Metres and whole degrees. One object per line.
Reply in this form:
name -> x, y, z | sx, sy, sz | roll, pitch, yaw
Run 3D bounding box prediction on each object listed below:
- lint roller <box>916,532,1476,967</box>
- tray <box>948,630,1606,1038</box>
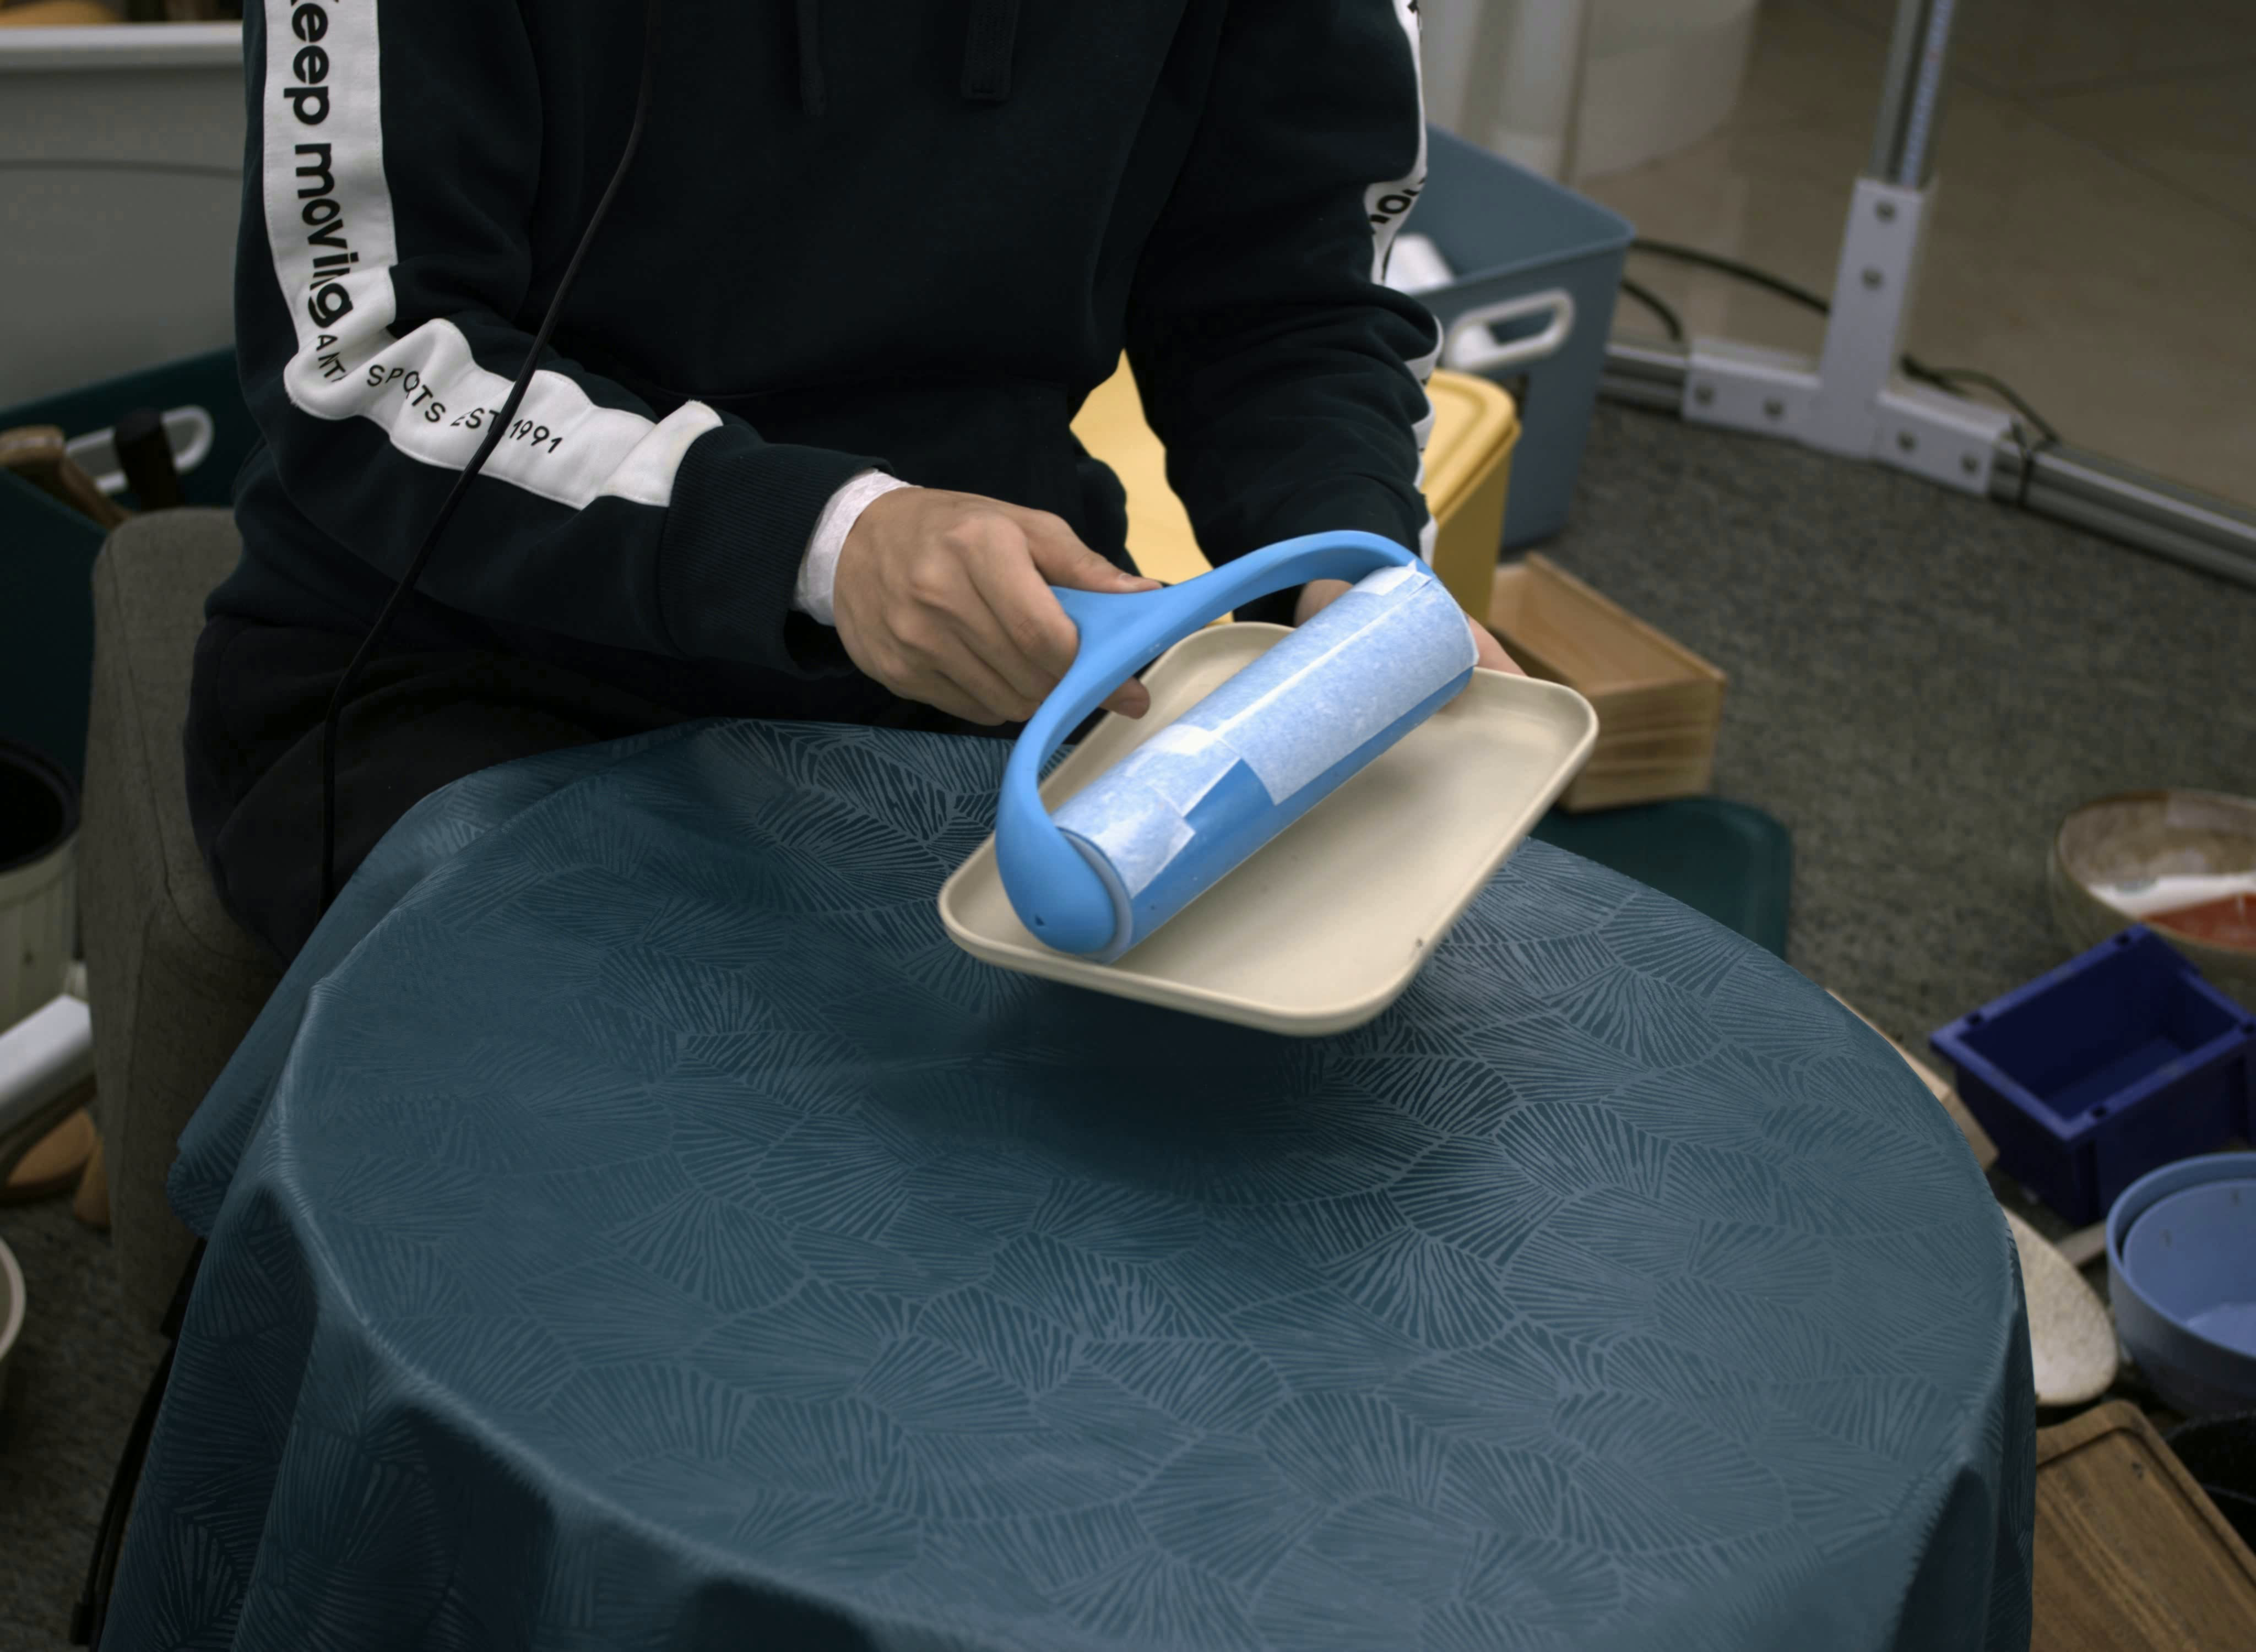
lint roller -> -0.004, -0.047, 1.872 | 0.181, 0.067, 0.229 | 27, 47, 27
tray -> 0.055, 0.000, 1.877 | 0.172, 0.017, 0.240 | 12, 34, 24
